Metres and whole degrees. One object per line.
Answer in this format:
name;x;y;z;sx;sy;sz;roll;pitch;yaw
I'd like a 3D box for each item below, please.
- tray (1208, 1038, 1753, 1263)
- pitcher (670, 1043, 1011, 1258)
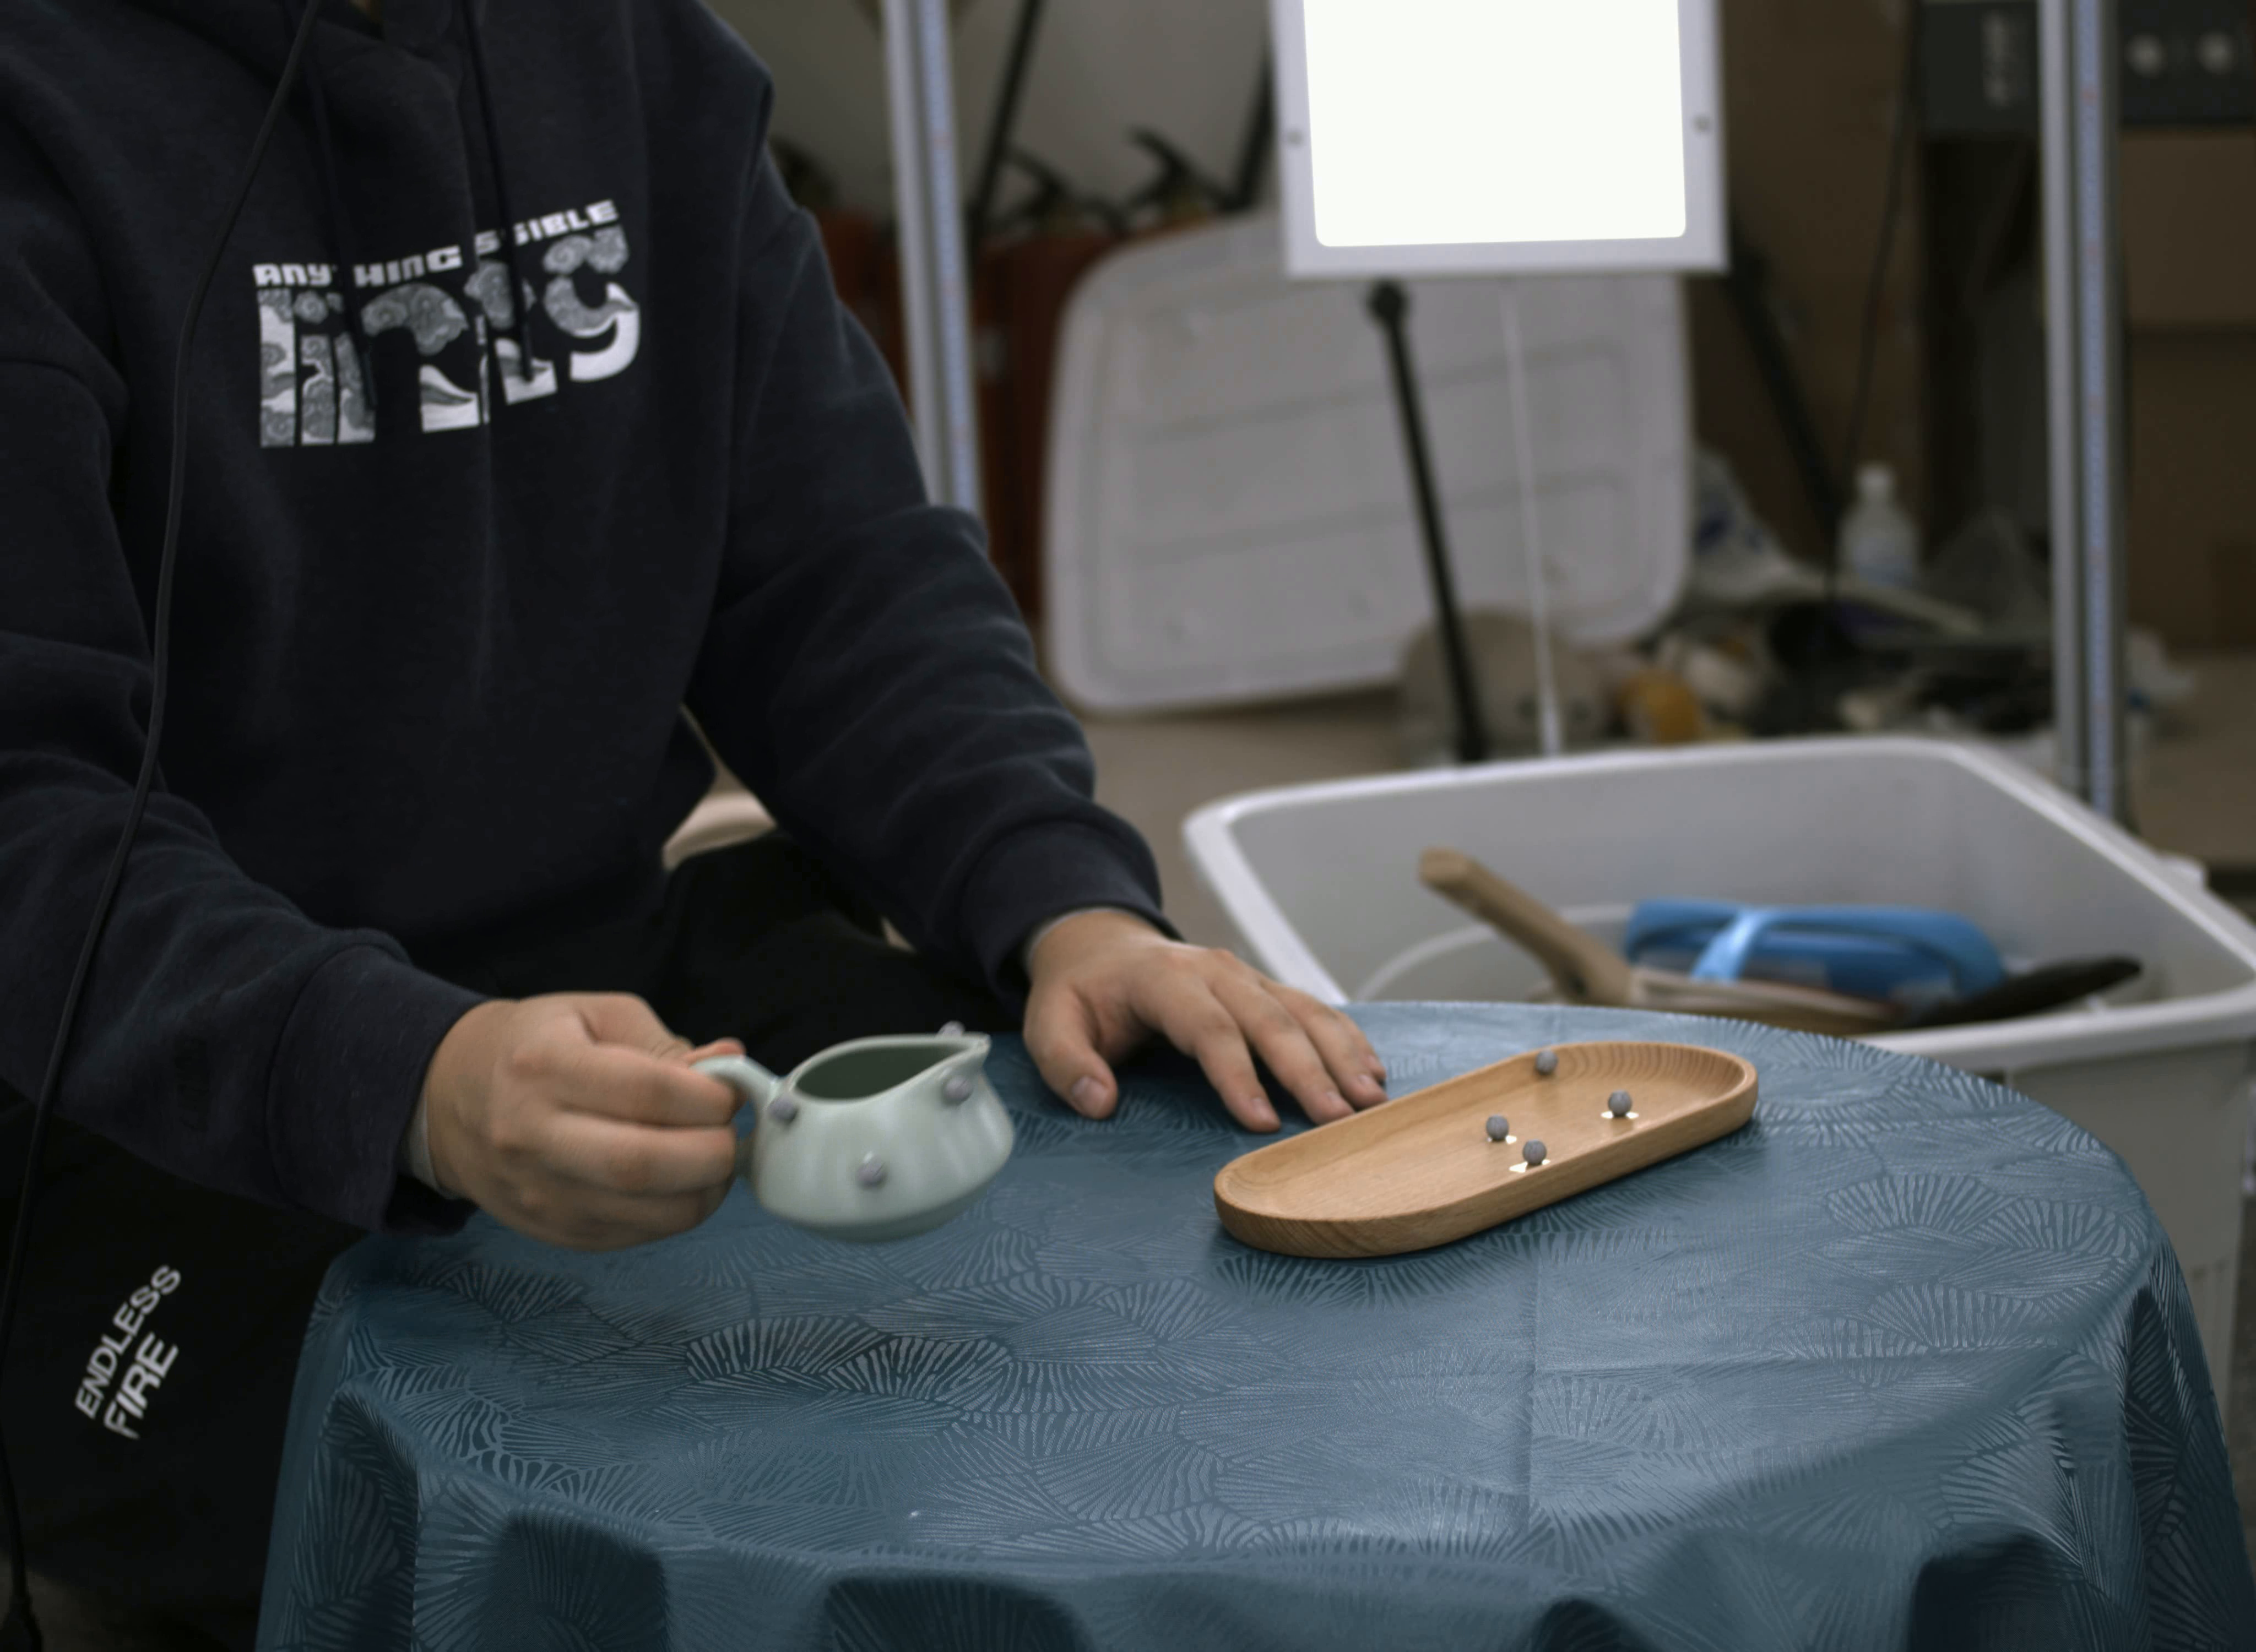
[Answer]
tray;0.124;0.110;1.888;0.225;0.020;0.104;-20;18;-40
pitcher;-0.092;0.102;1.746;0.109;0.060;0.085;-9;21;11
